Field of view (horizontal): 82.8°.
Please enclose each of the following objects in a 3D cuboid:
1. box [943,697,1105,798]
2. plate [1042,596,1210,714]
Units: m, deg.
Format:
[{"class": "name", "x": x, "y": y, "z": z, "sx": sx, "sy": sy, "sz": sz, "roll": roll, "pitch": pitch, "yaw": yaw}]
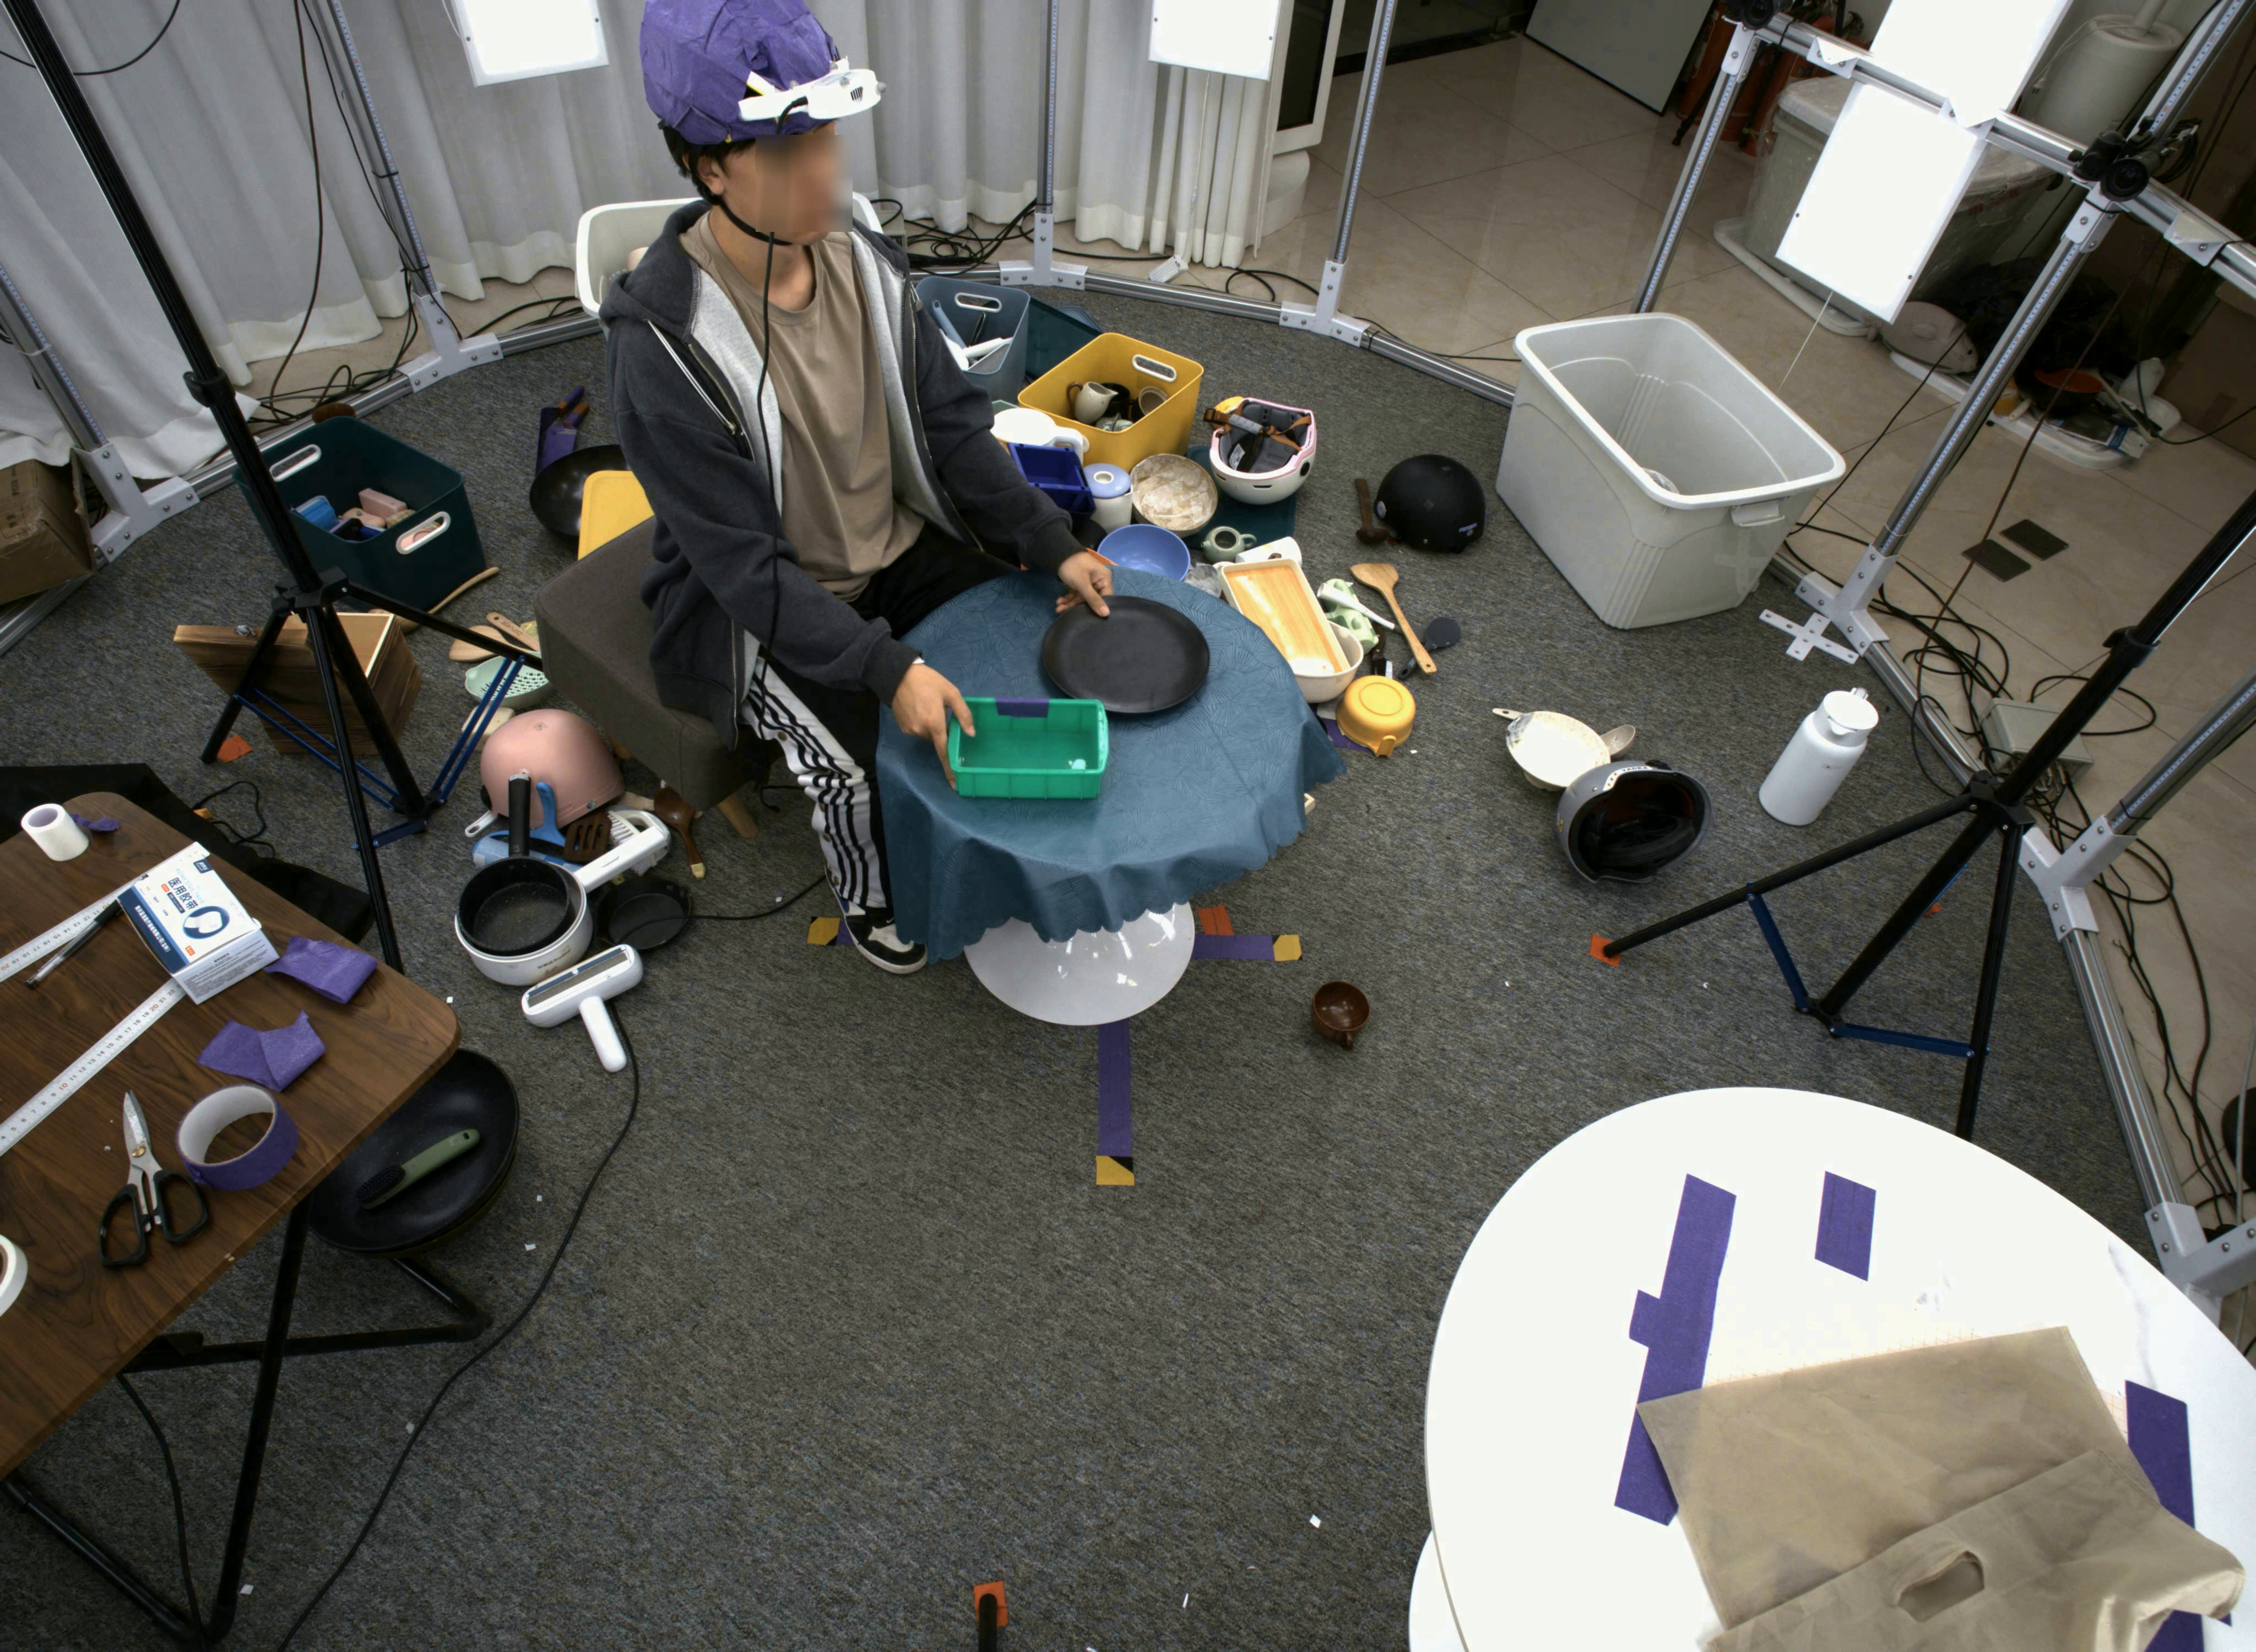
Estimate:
[{"class": "box", "x": -0.136, "y": -0.102, "z": 1.704, "sx": 0.210, "sy": 0.064, "sz": 0.142, "roll": -1, "pitch": 47, "yaw": -2}, {"class": "plate", "x": -0.003, "y": -0.246, "z": 1.863, "sx": 0.244, "sy": 0.023, "sz": 0.250, "roll": 2, "pitch": 50, "yaw": -2}]
